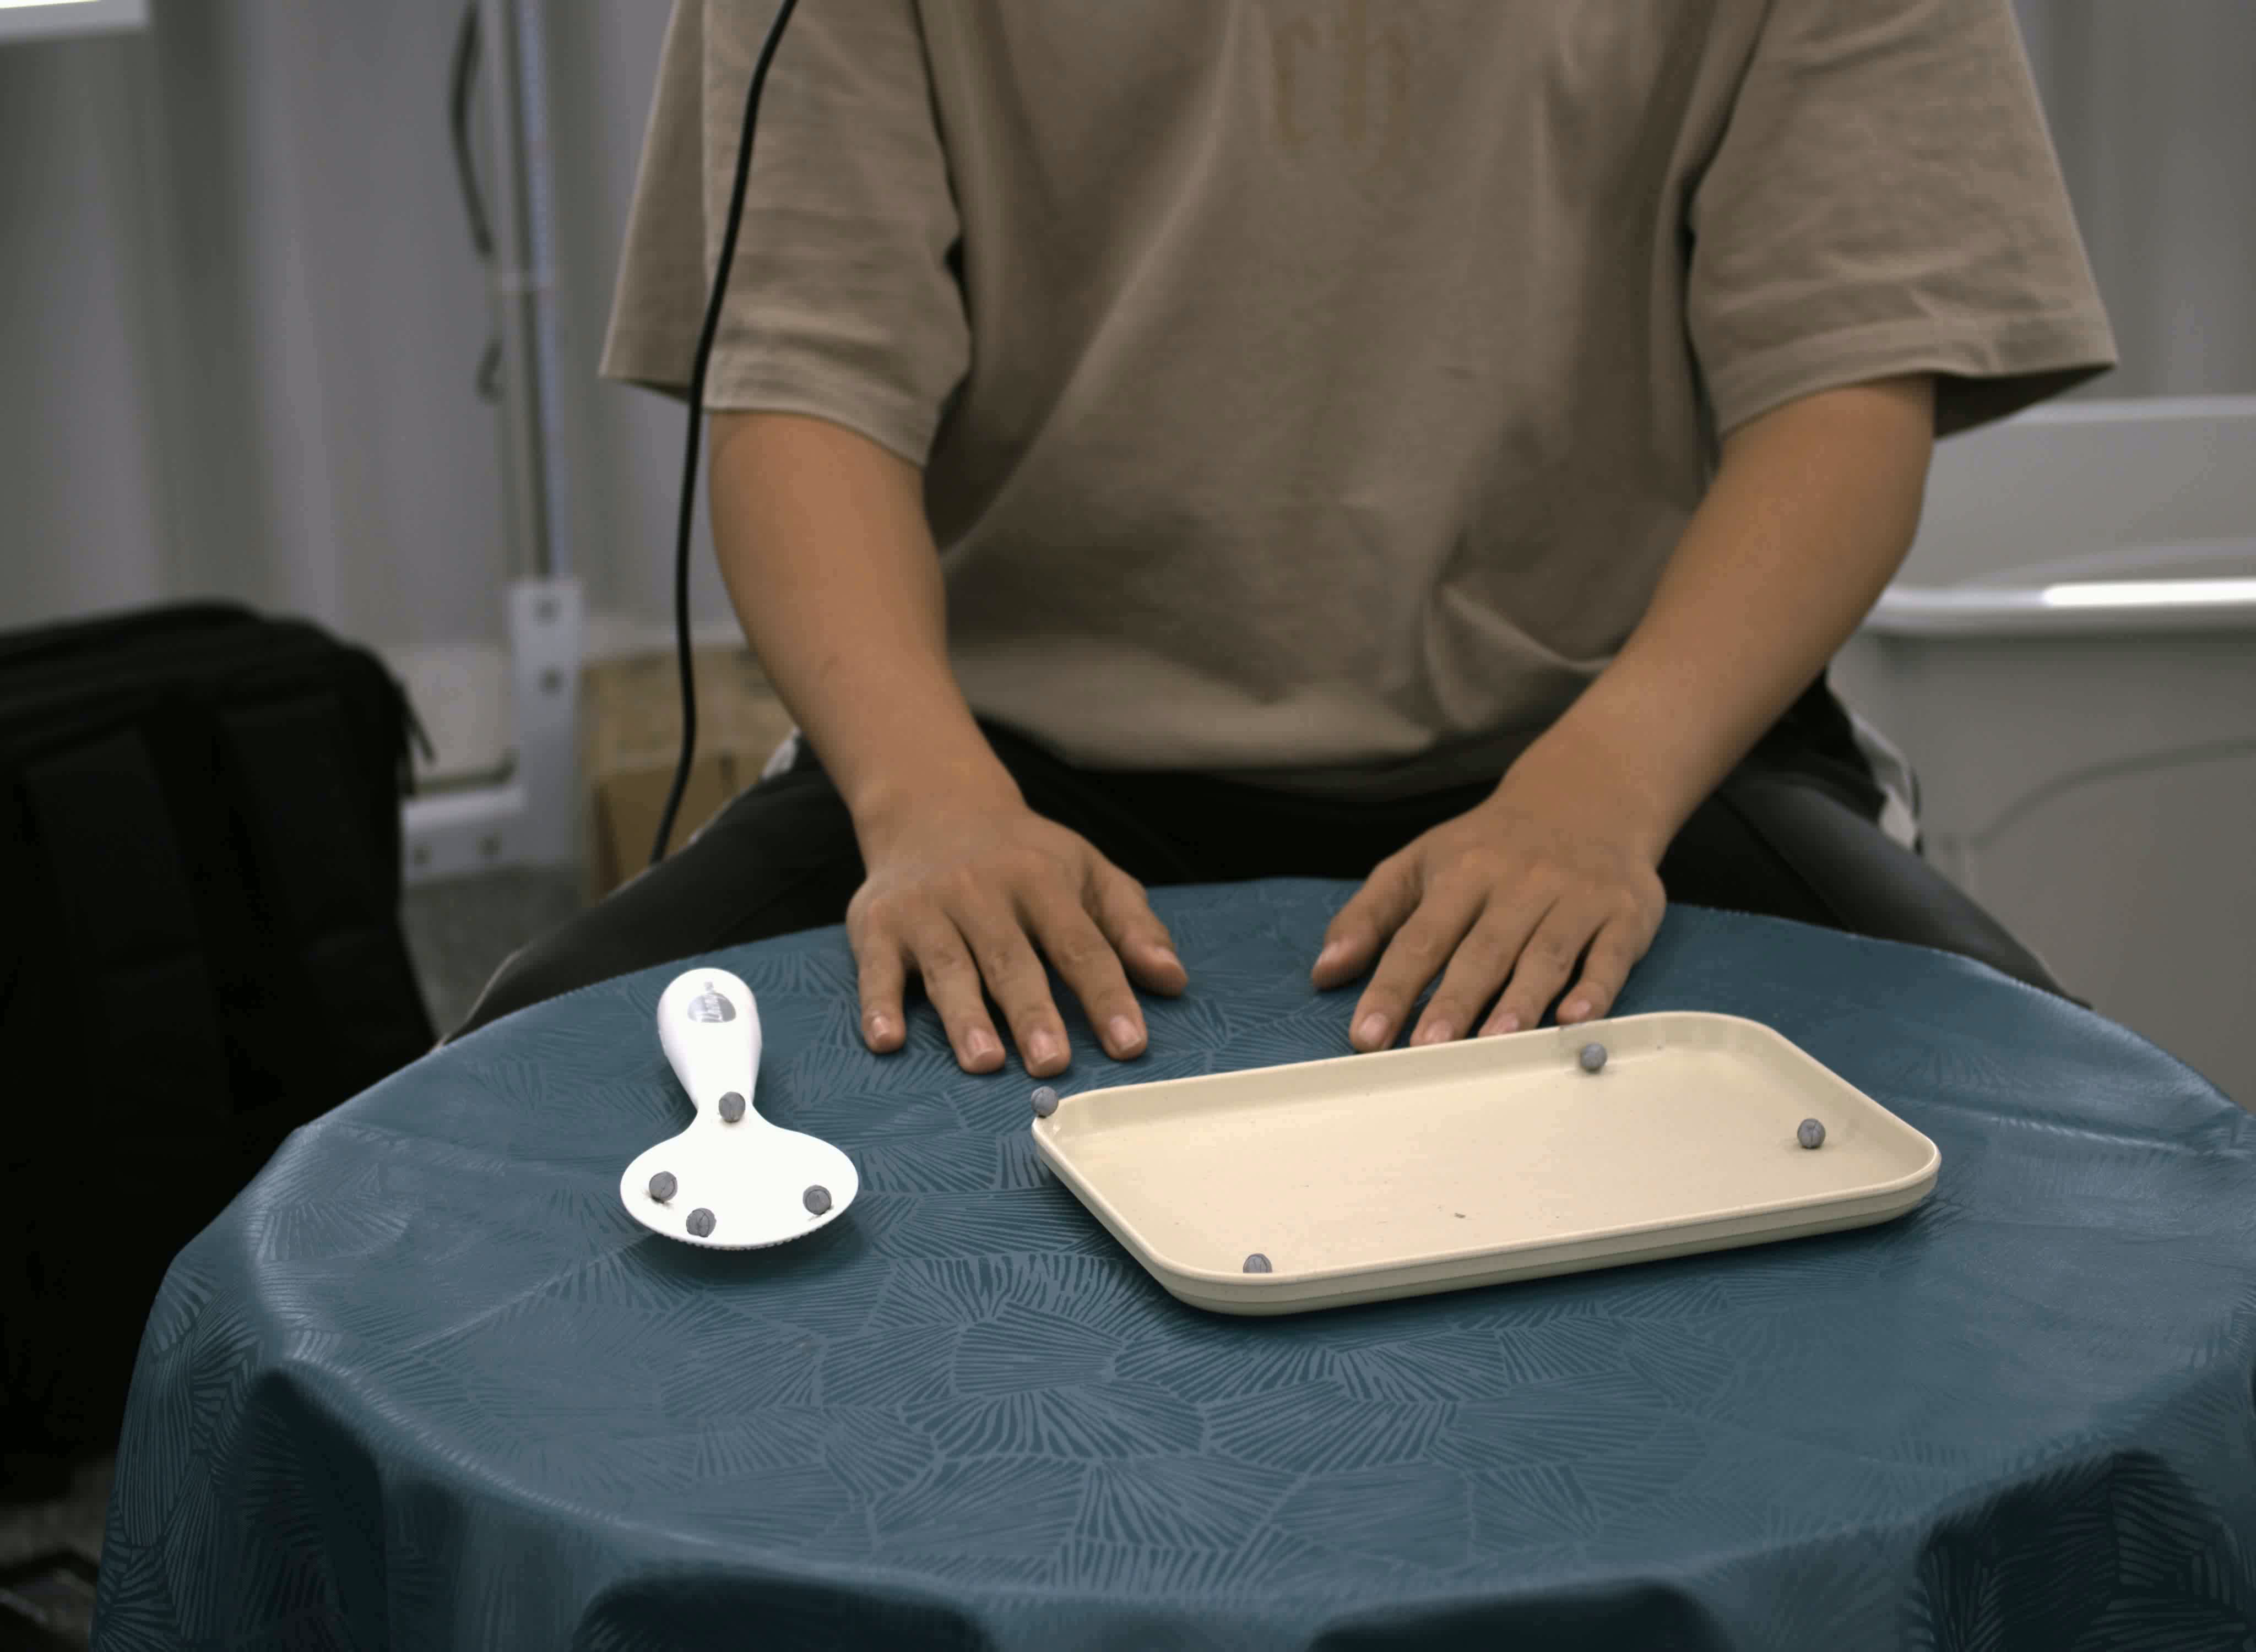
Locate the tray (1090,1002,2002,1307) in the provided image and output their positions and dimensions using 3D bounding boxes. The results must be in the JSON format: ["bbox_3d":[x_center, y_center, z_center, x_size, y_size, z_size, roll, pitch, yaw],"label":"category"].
[{"bbox_3d":[0.120,0.095,1.540,0.236,0.017,0.174,-6,17,-15],"label":"tray"}]

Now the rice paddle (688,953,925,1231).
[{"bbox_3d":[-0.100,0.082,1.591,0.068,0.029,0.207,-5,16,-6],"label":"rice paddle"}]
